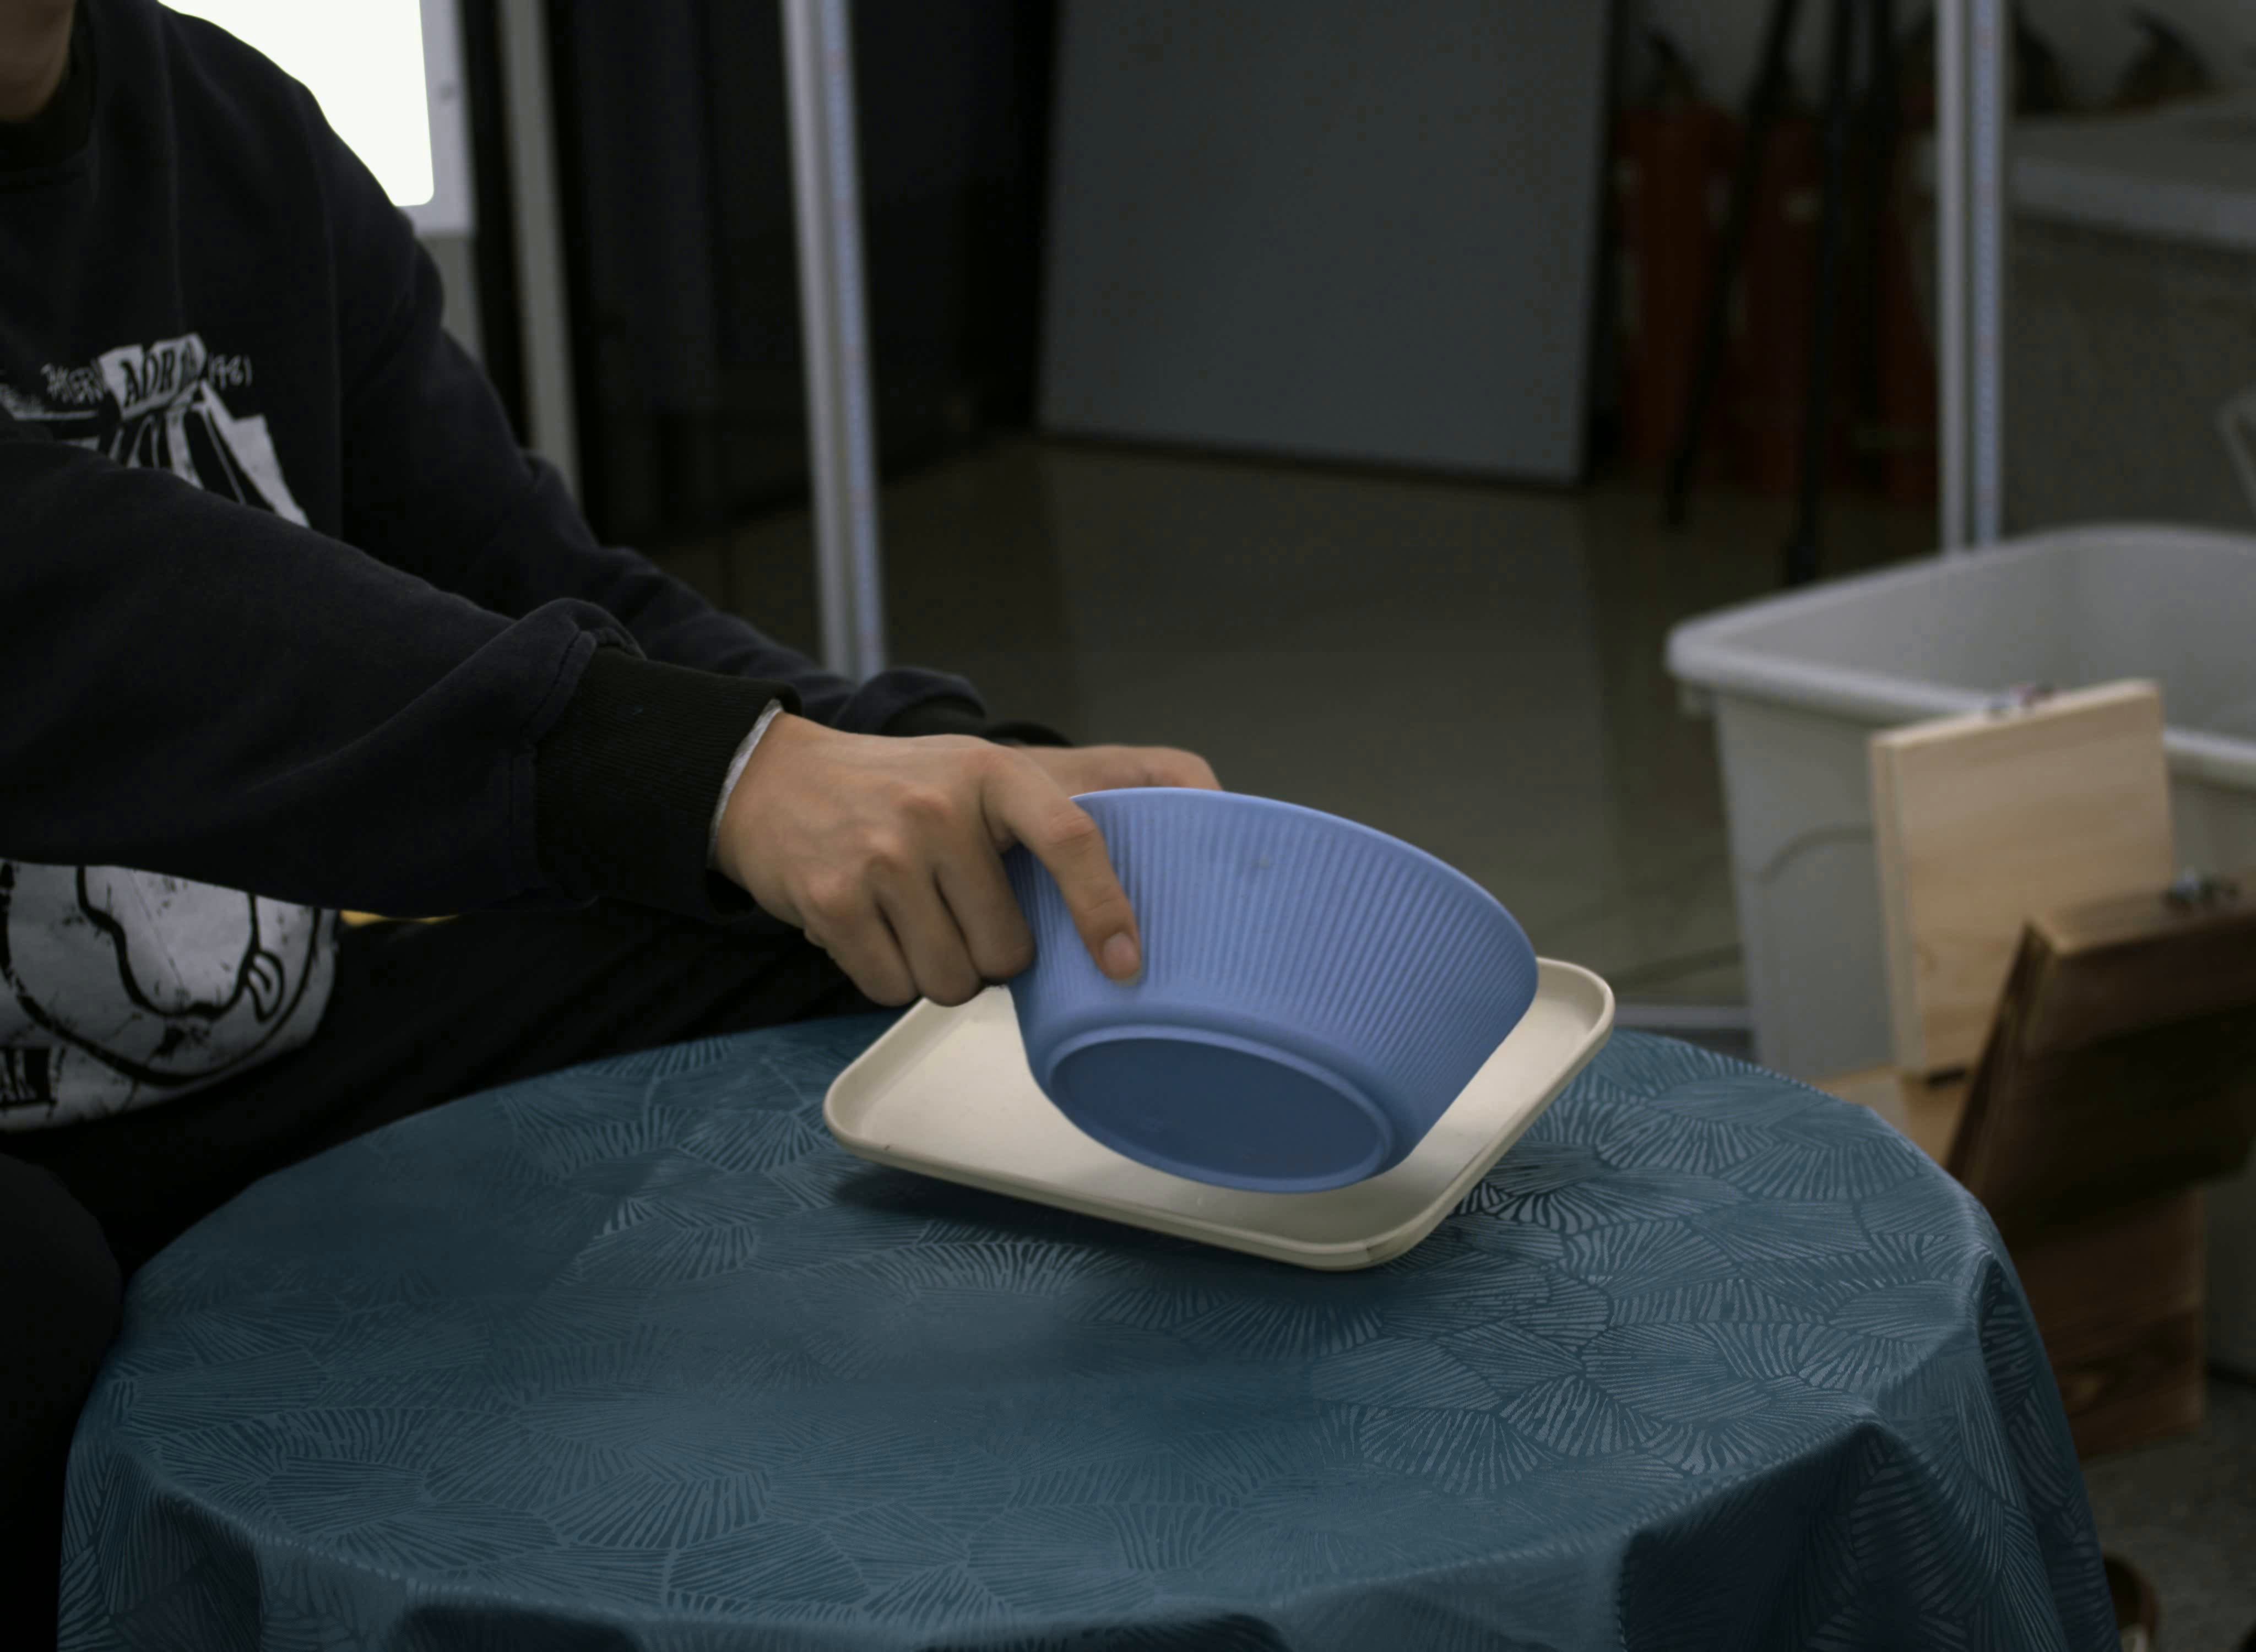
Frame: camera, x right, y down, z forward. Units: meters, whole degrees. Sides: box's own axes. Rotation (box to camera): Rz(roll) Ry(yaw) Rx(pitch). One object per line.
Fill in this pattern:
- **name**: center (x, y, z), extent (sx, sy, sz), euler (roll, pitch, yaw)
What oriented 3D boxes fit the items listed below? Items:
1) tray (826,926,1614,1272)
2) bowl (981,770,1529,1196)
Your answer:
- **tray**: center (0.030, 0.082, 1.780), extent (0.241, 0.017, 0.169), euler (10, 37, 36)
- **bowl**: center (0.032, 0.058, 1.650), extent (0.174, 0.071, 0.176), euler (13, -27, 6)
